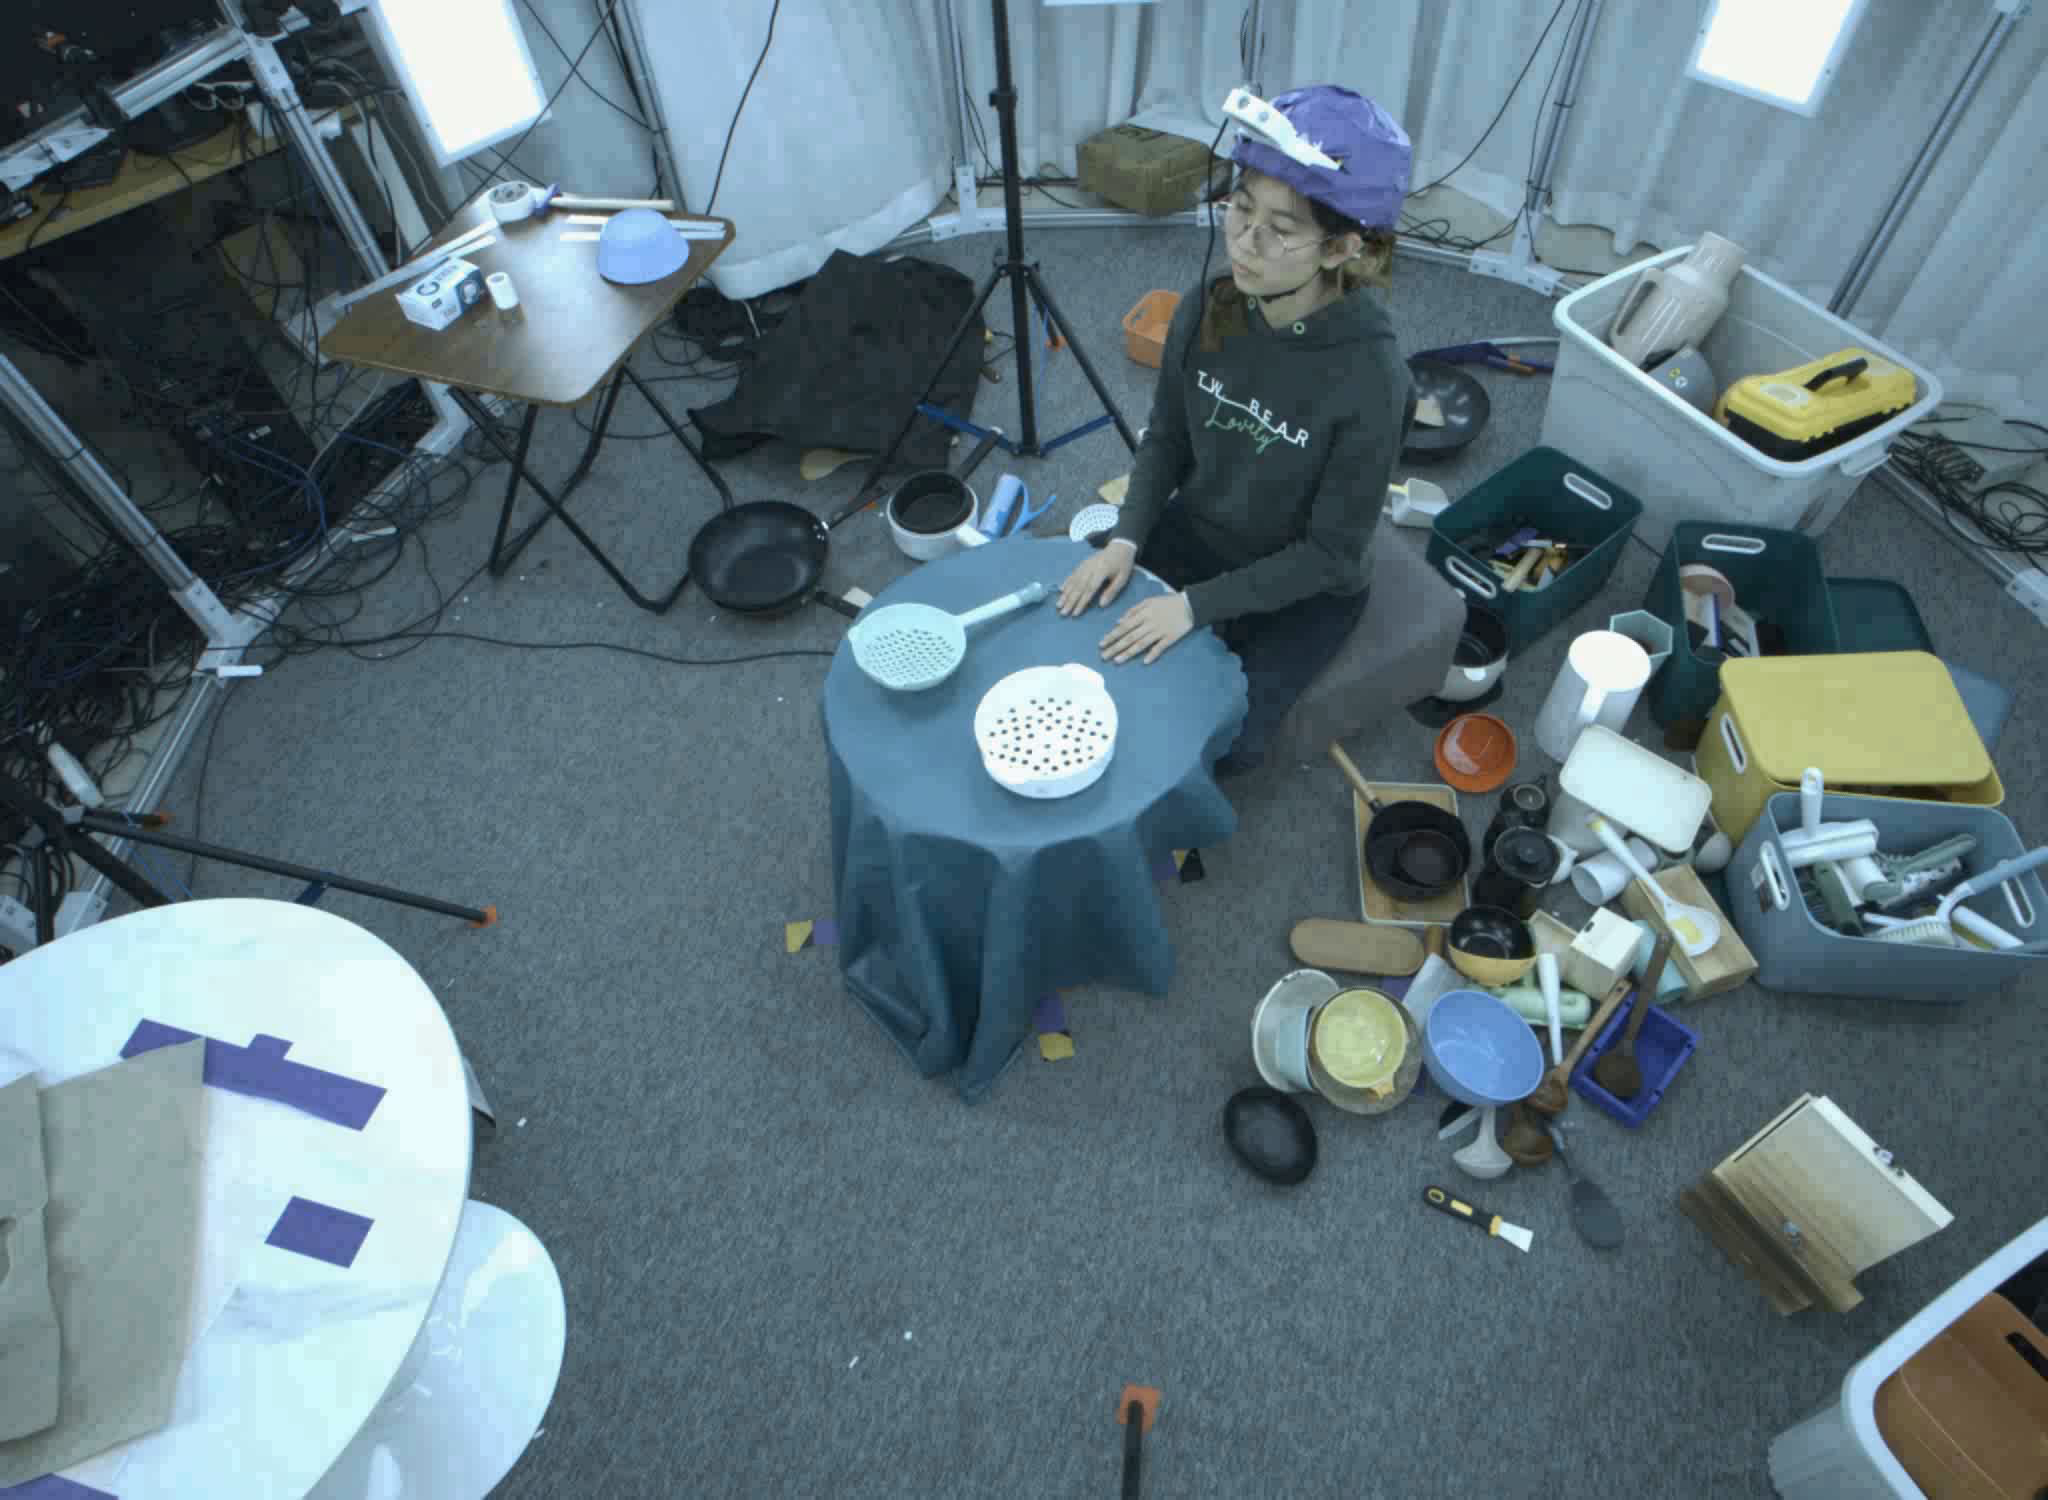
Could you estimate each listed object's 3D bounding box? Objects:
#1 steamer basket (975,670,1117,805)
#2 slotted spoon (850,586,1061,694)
[{"bbox_3d":[0.032,-0.014,1.768,0.199,0.070,0.231,27,60,18],"label":"steamer basket"},{"bbox_3d":[-0.092,-0.189,1.894,0.362,0.076,0.166,-31,60,-19],"label":"slotted spoon"}]
